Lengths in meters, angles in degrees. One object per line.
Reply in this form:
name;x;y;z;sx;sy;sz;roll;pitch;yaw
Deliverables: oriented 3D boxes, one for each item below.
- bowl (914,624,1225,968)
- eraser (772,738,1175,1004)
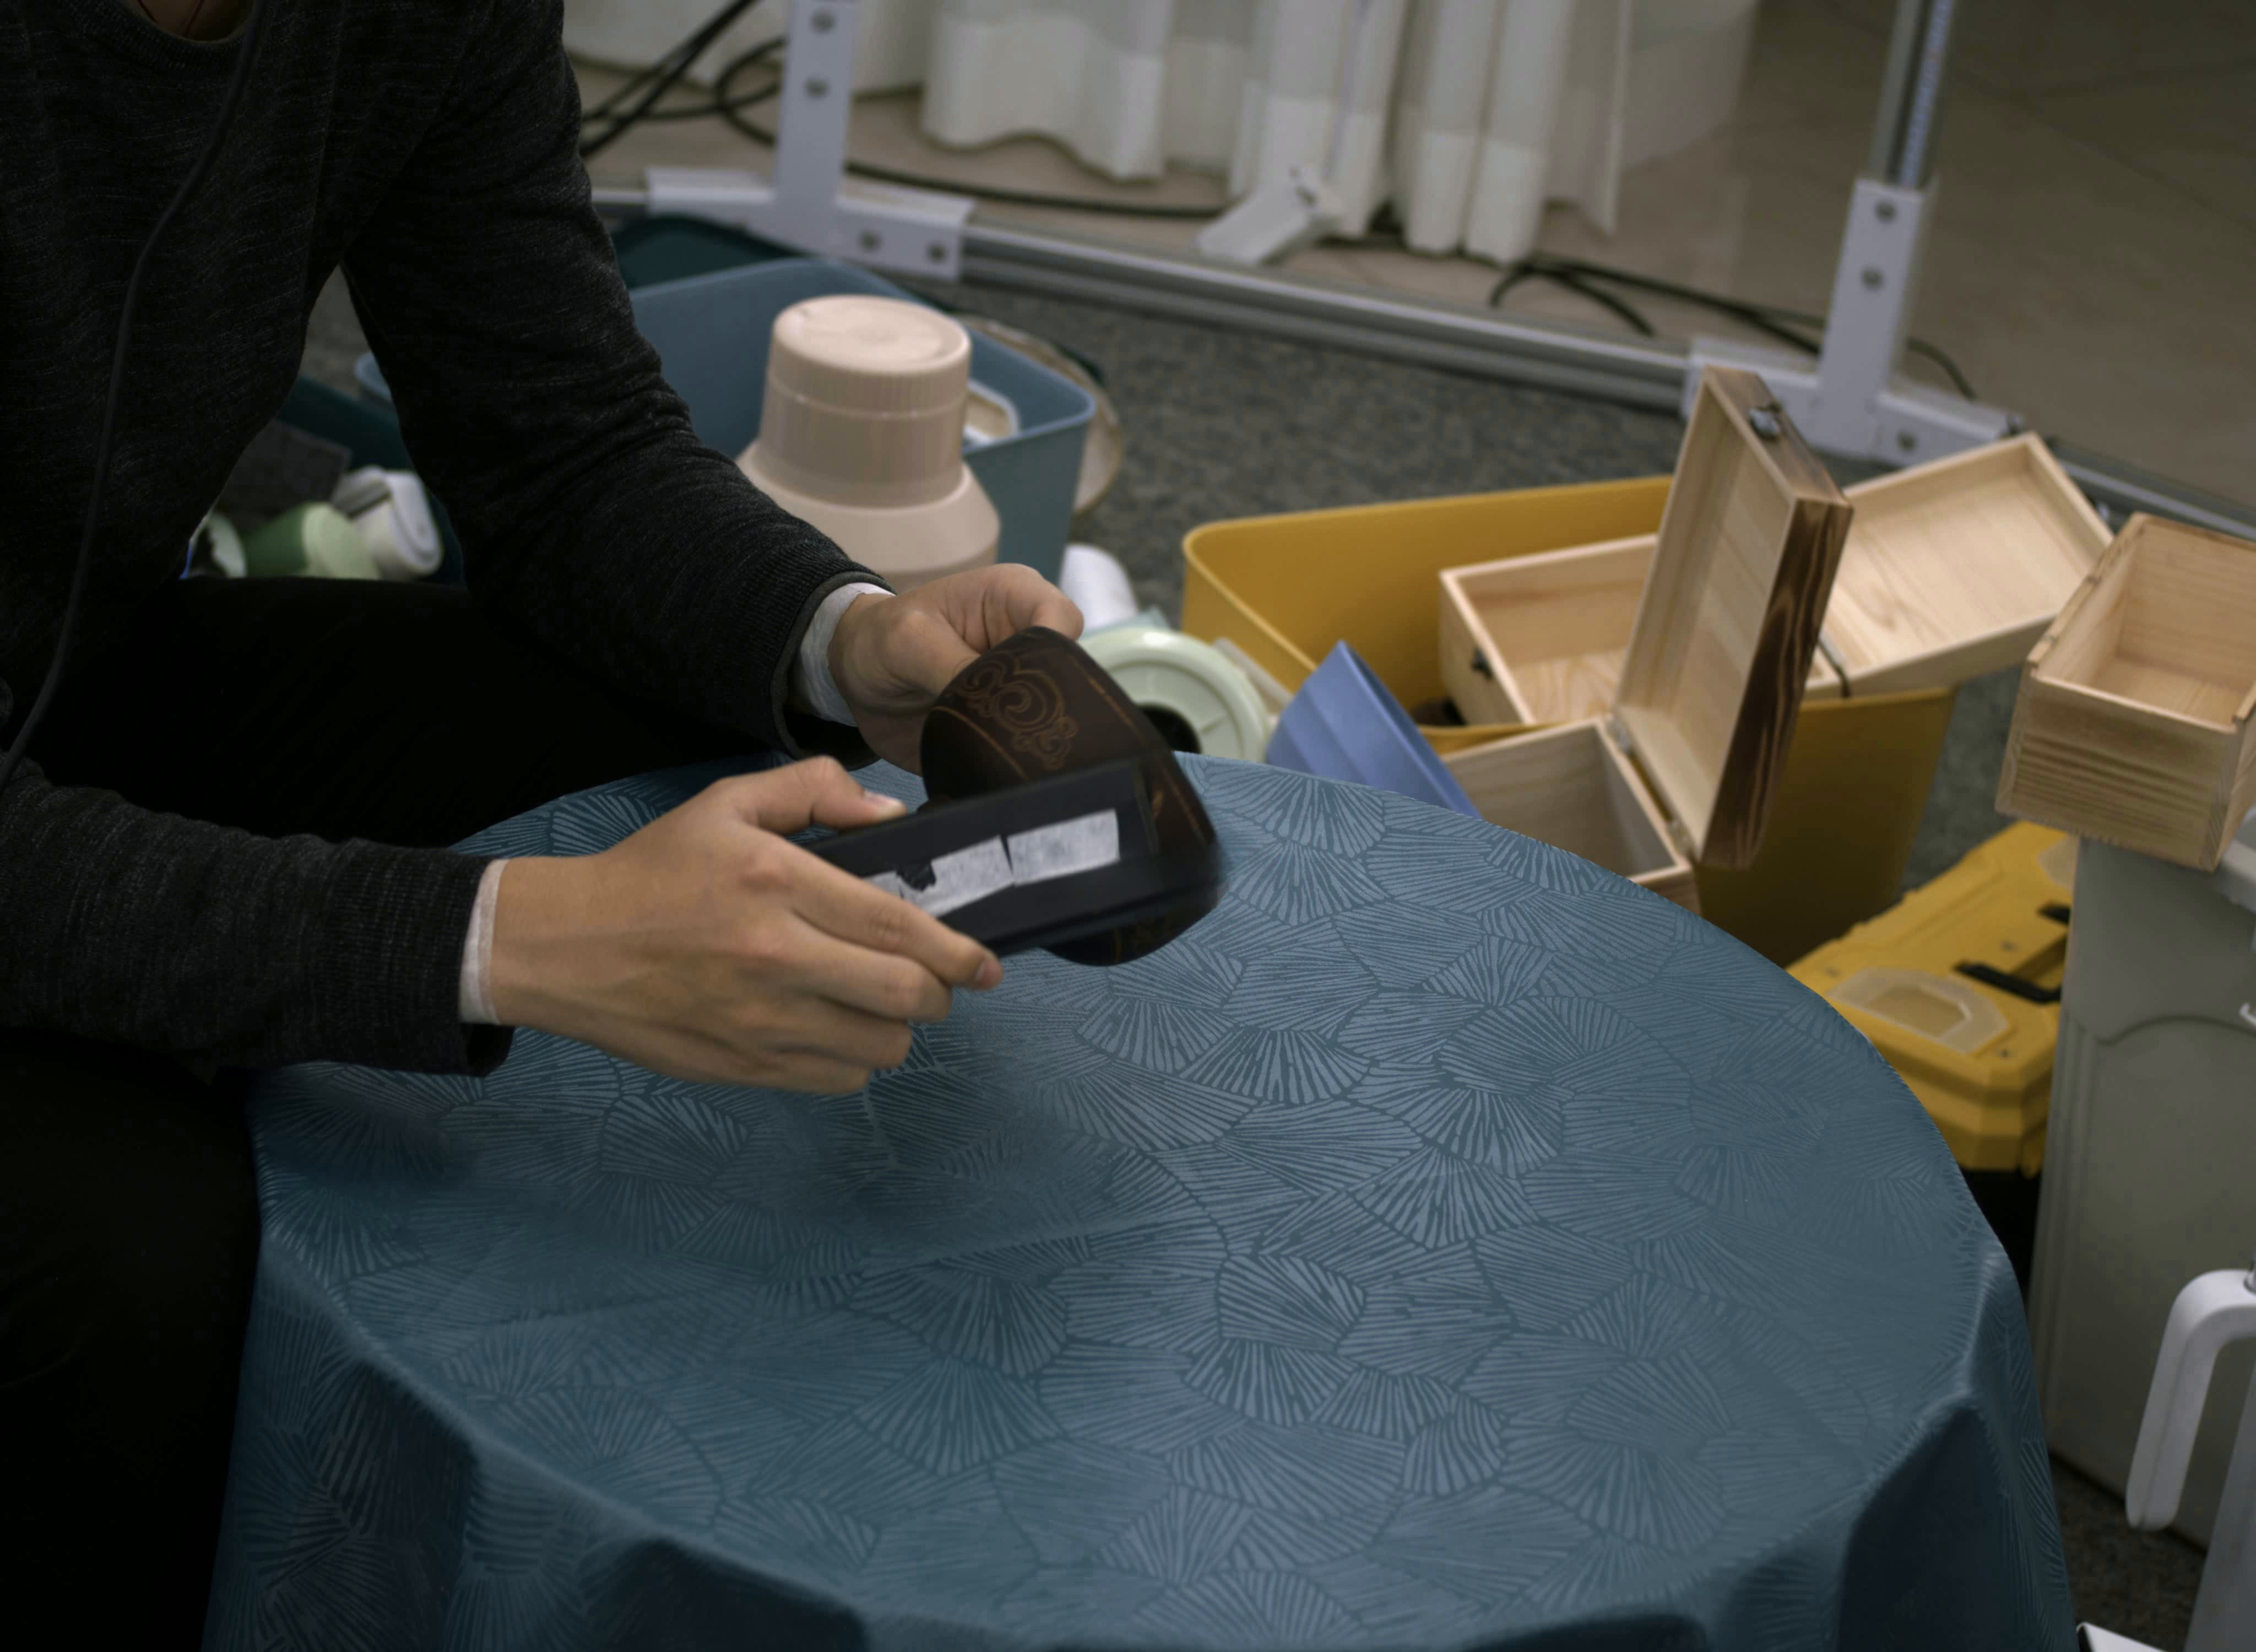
bowl;-0.029;-0.002;1.797;0.070;0.117;0.119;-36;43;-16
eraser;-0.049;0.015;1.728;0.125;0.054;0.030;-17;-12;5
